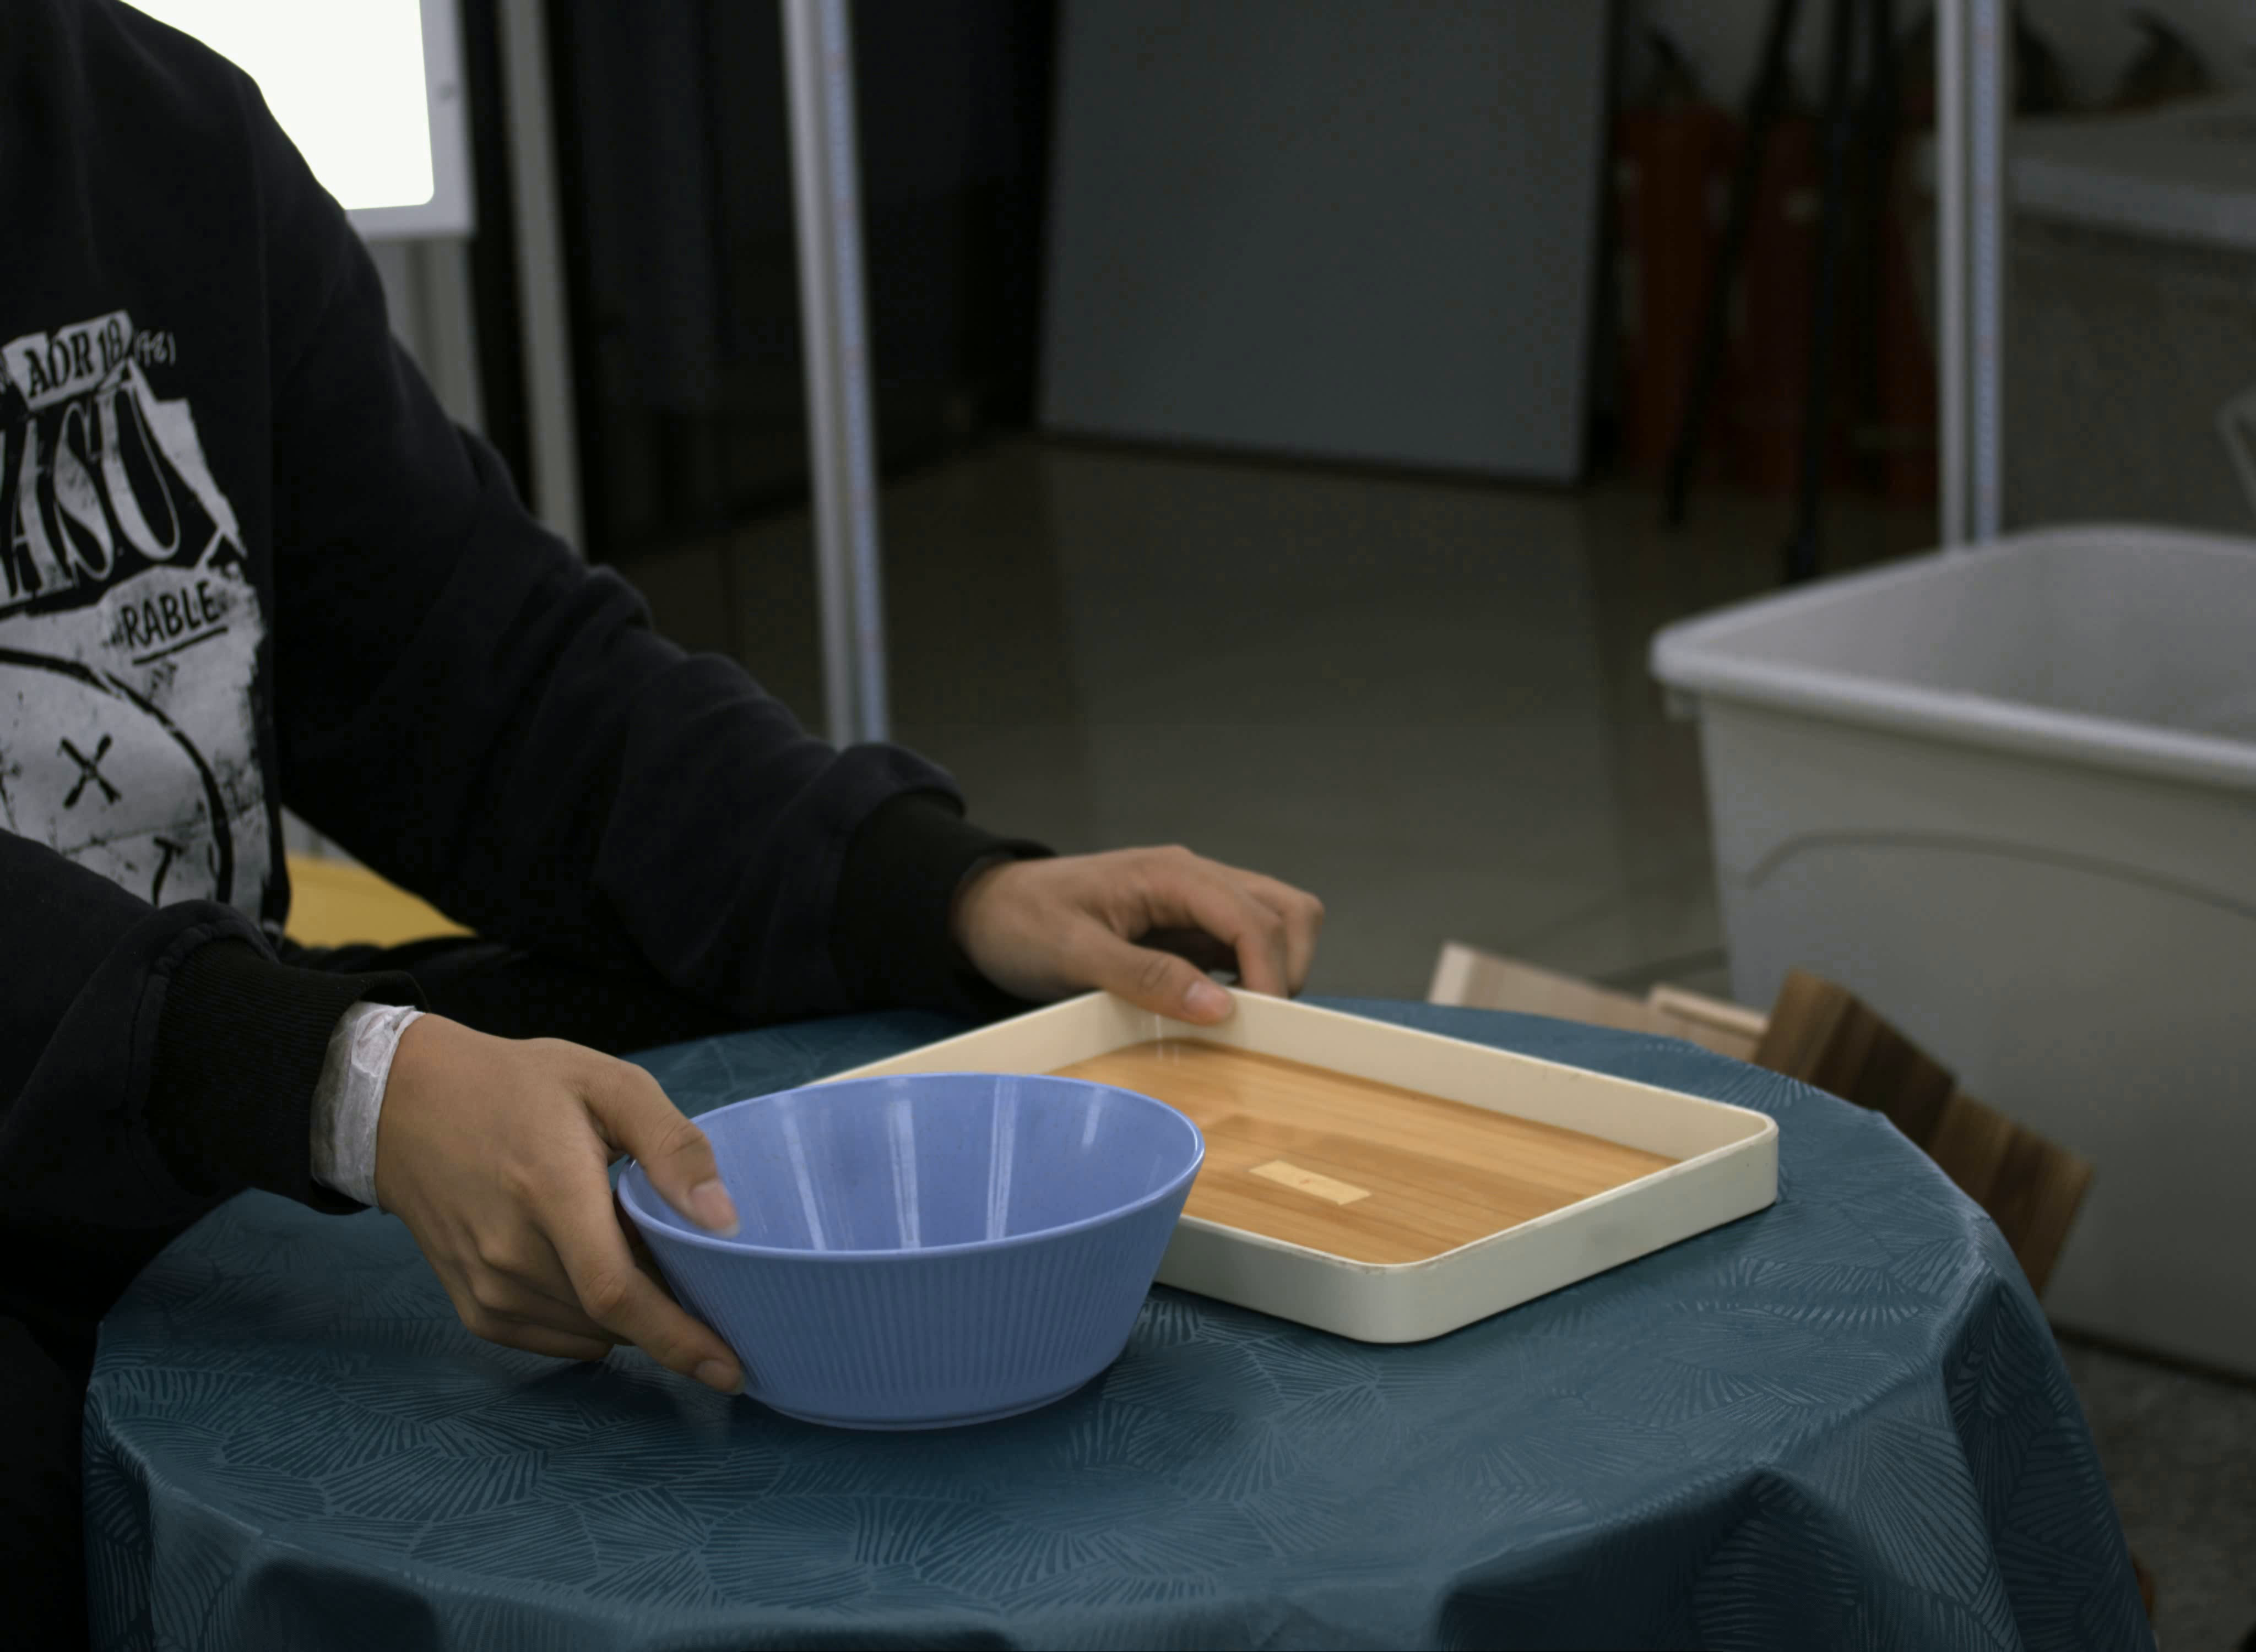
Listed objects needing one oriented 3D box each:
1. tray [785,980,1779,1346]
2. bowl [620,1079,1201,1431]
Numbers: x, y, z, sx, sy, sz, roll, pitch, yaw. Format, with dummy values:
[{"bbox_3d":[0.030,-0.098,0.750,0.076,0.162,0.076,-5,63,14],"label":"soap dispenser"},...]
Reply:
[{"bbox_3d":[0.047,0.106,1.764,0.187,0.028,0.303,-17,19,-40],"label":"tray"},{"bbox_3d":[-0.062,0.130,1.606,0.174,0.071,0.176,-4,13,0],"label":"bowl"}]
